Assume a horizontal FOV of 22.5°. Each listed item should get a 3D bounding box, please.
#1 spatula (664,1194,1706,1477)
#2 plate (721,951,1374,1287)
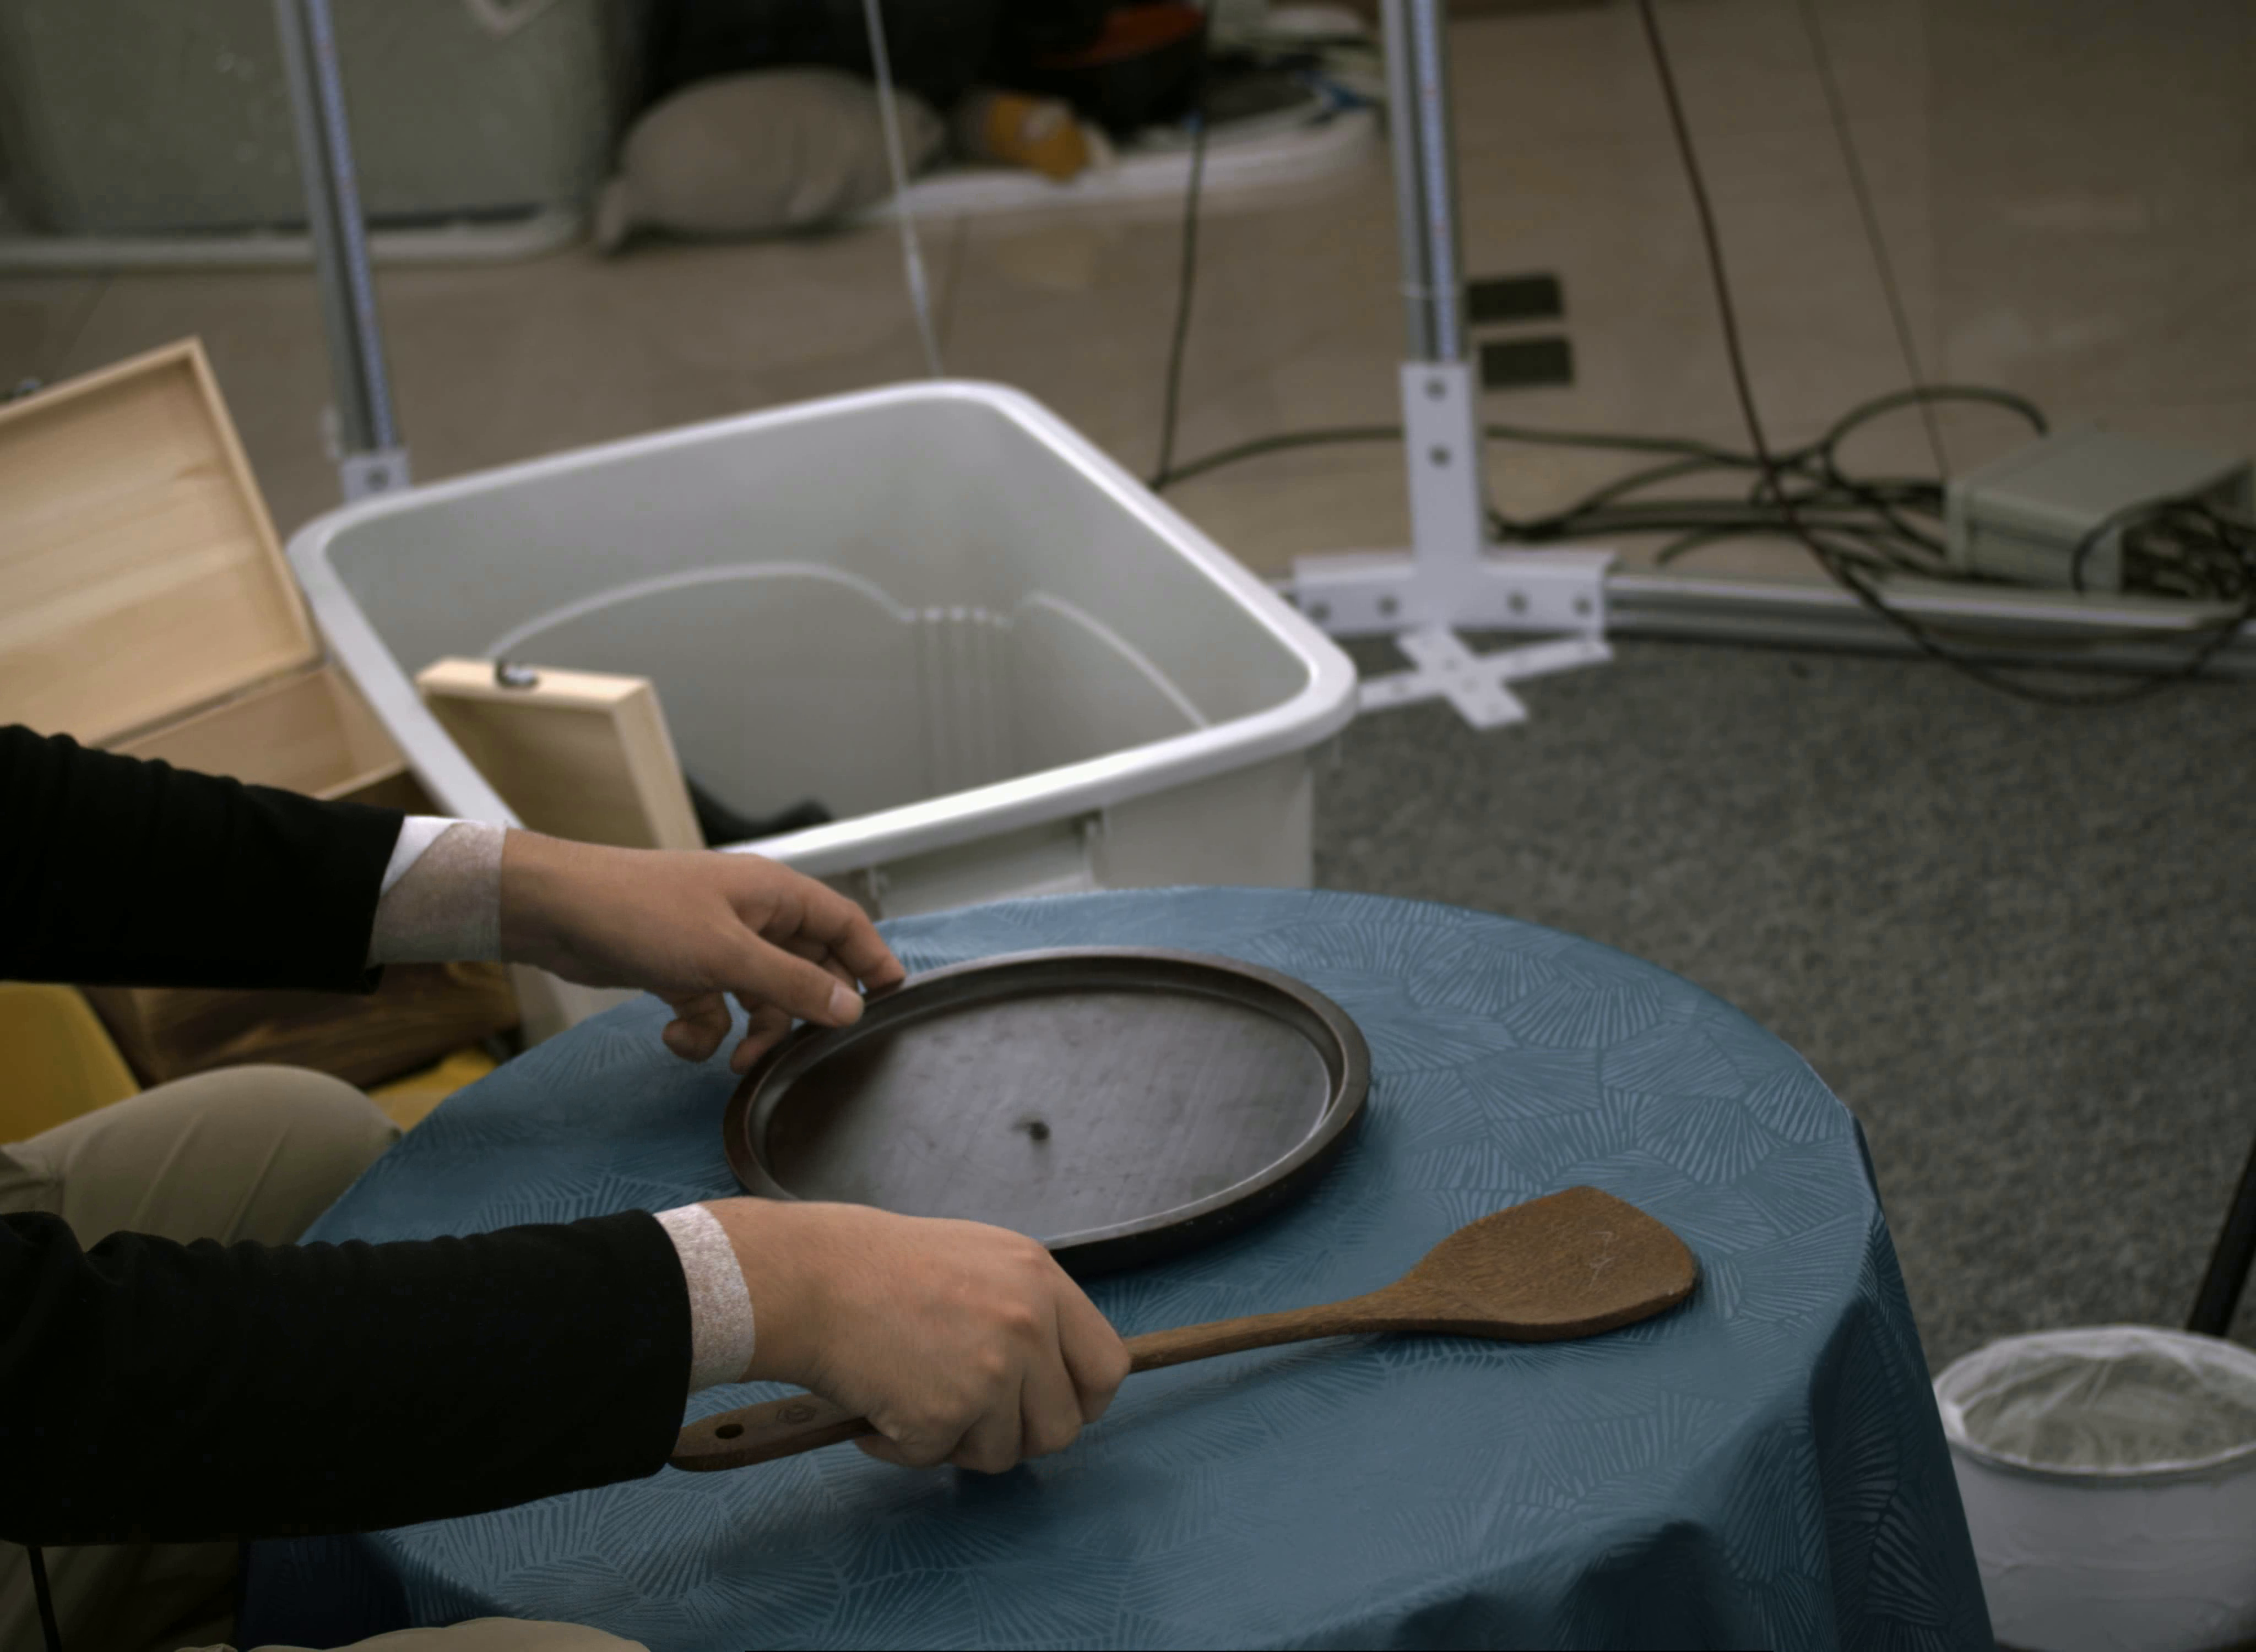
[{"bbox_3d":[0.021,0.184,2.003,0.385,0.016,0.095,-10,24,-19],"label":"spatula"},{"bbox_3d":[-0.030,0.111,2.188,0.254,0.029,0.251,-5,26,3],"label":"plate"}]
